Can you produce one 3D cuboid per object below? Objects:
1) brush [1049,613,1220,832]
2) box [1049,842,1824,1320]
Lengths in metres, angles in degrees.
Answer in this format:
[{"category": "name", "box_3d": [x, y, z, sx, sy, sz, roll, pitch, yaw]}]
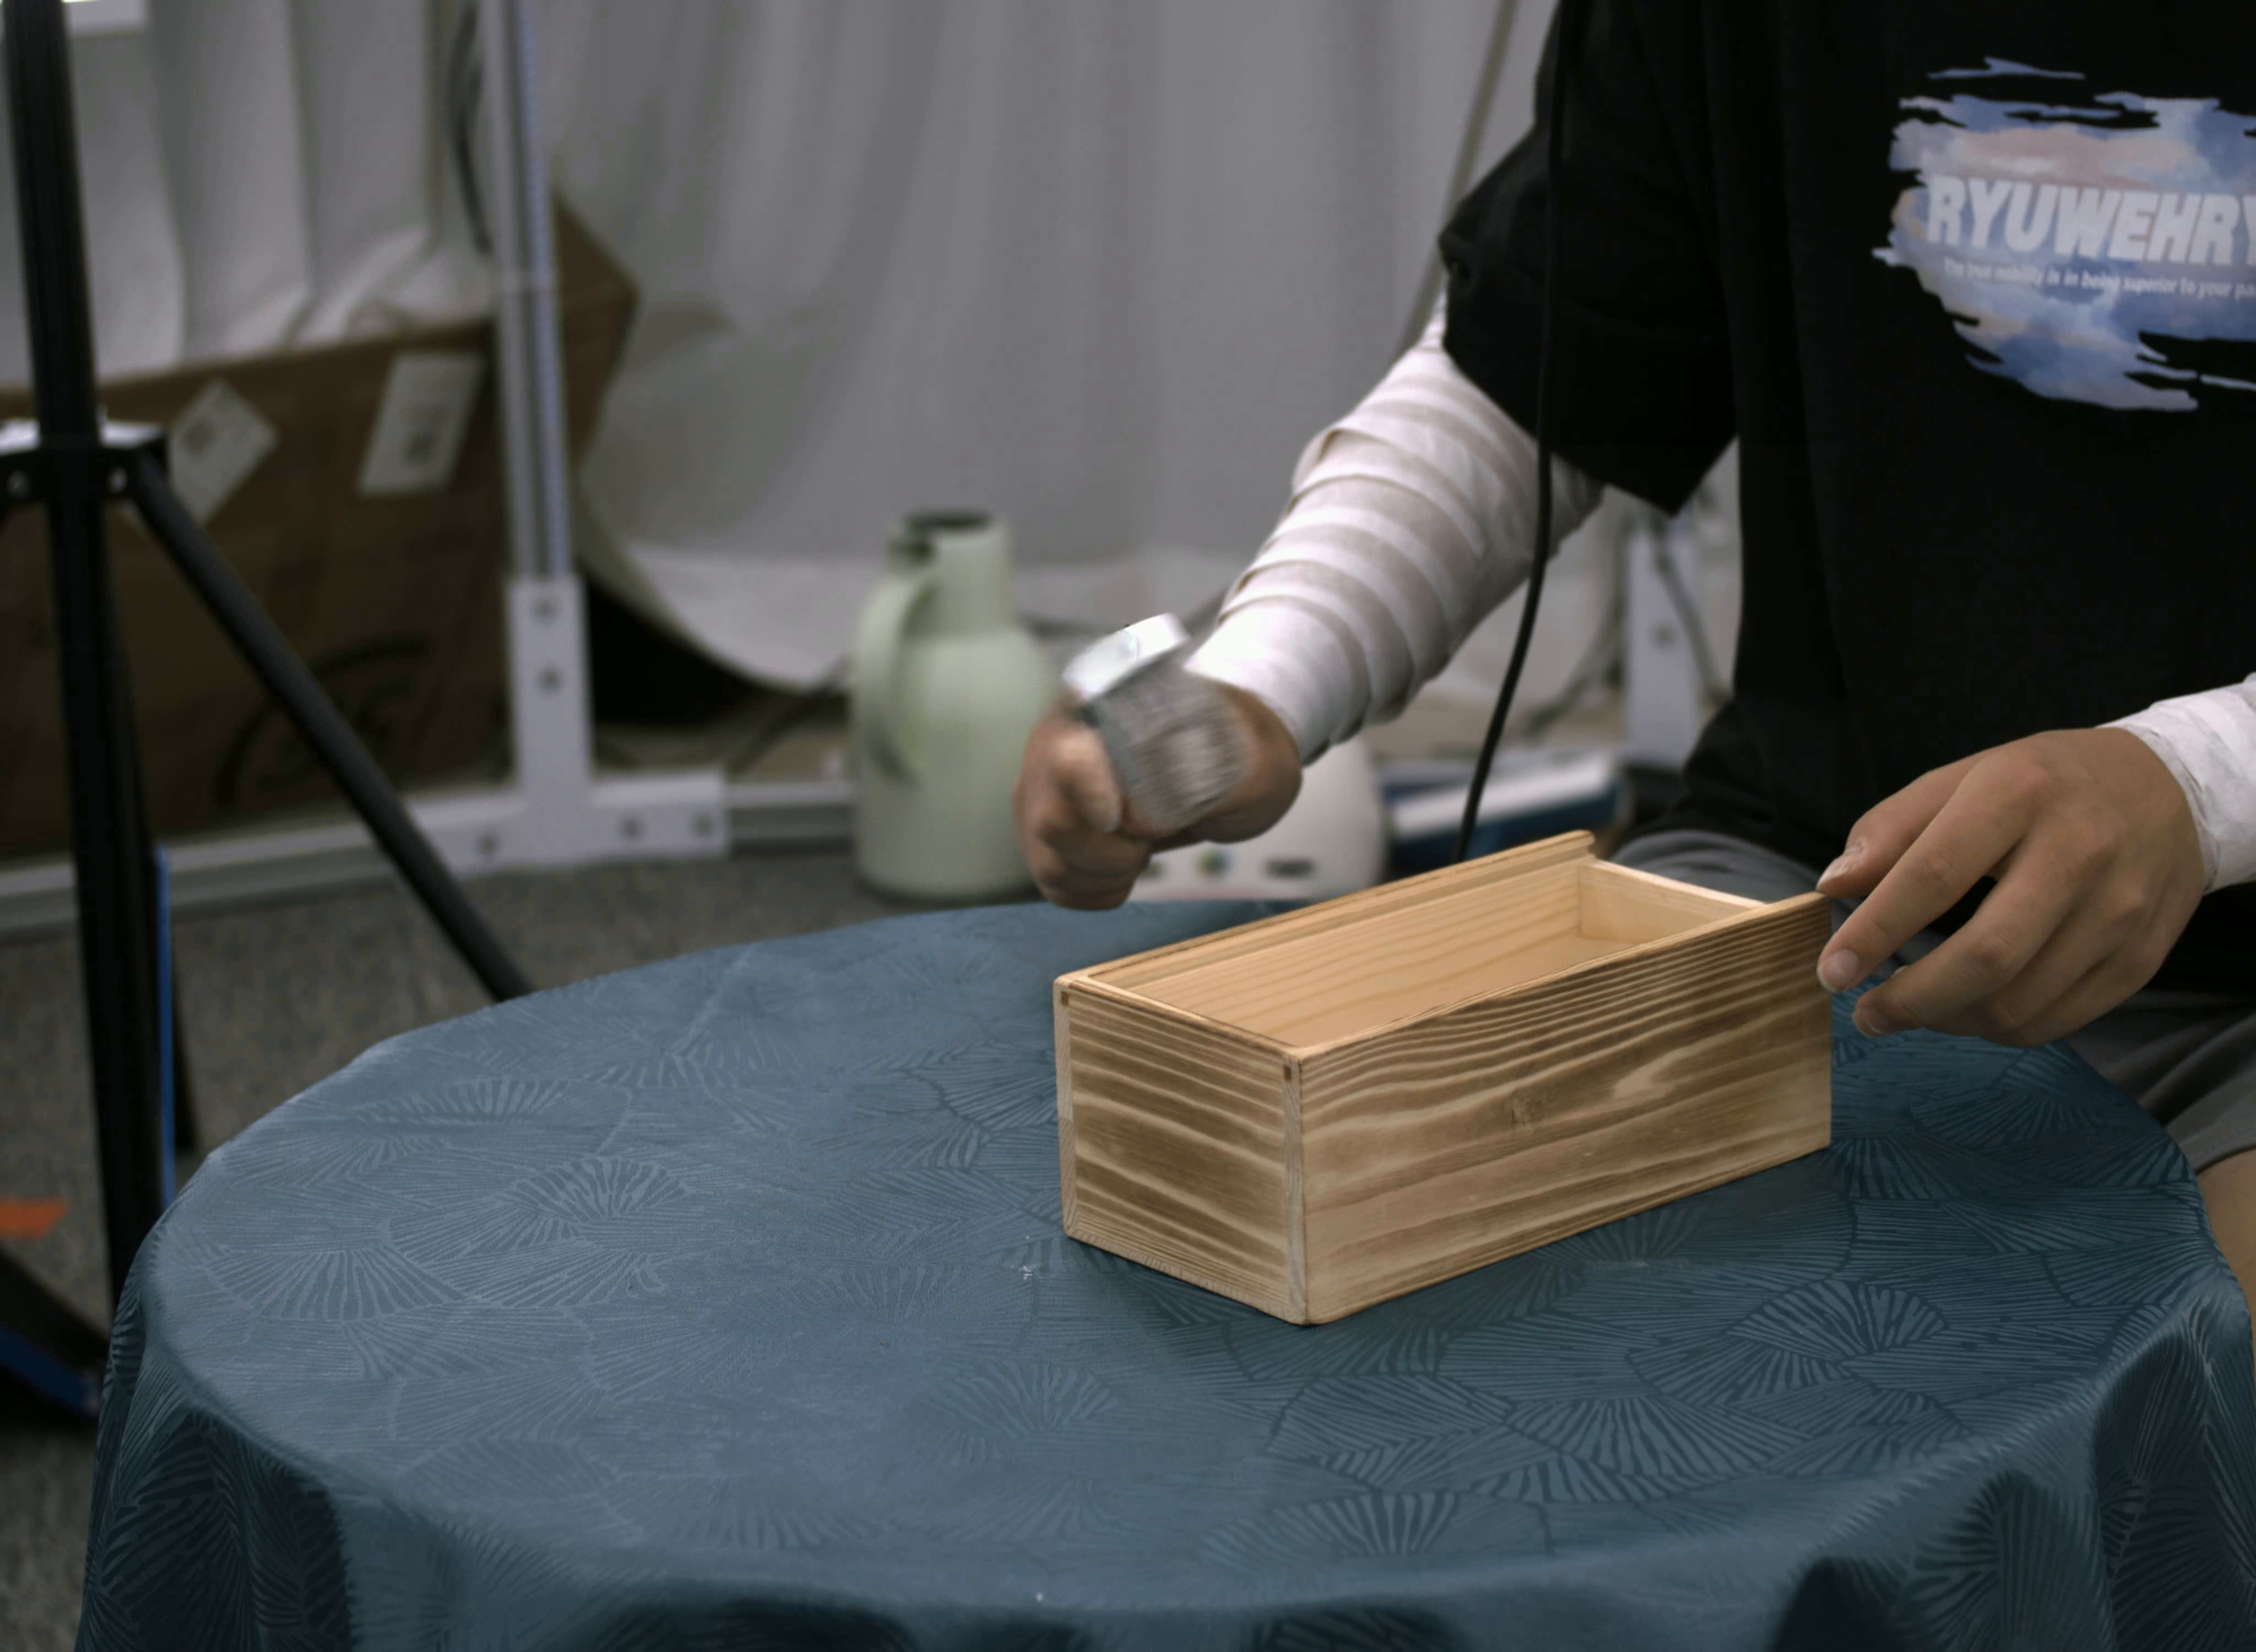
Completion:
[{"category": "brush", "box_3d": [0.004, -0.013, 1.633, 0.034, 0.051, 0.242, -32, -10, -6]}, {"category": "box", "box_3d": [0.092, 0.070, 1.535, 0.206, 0.080, 0.110, -13, 18, -38]}]
